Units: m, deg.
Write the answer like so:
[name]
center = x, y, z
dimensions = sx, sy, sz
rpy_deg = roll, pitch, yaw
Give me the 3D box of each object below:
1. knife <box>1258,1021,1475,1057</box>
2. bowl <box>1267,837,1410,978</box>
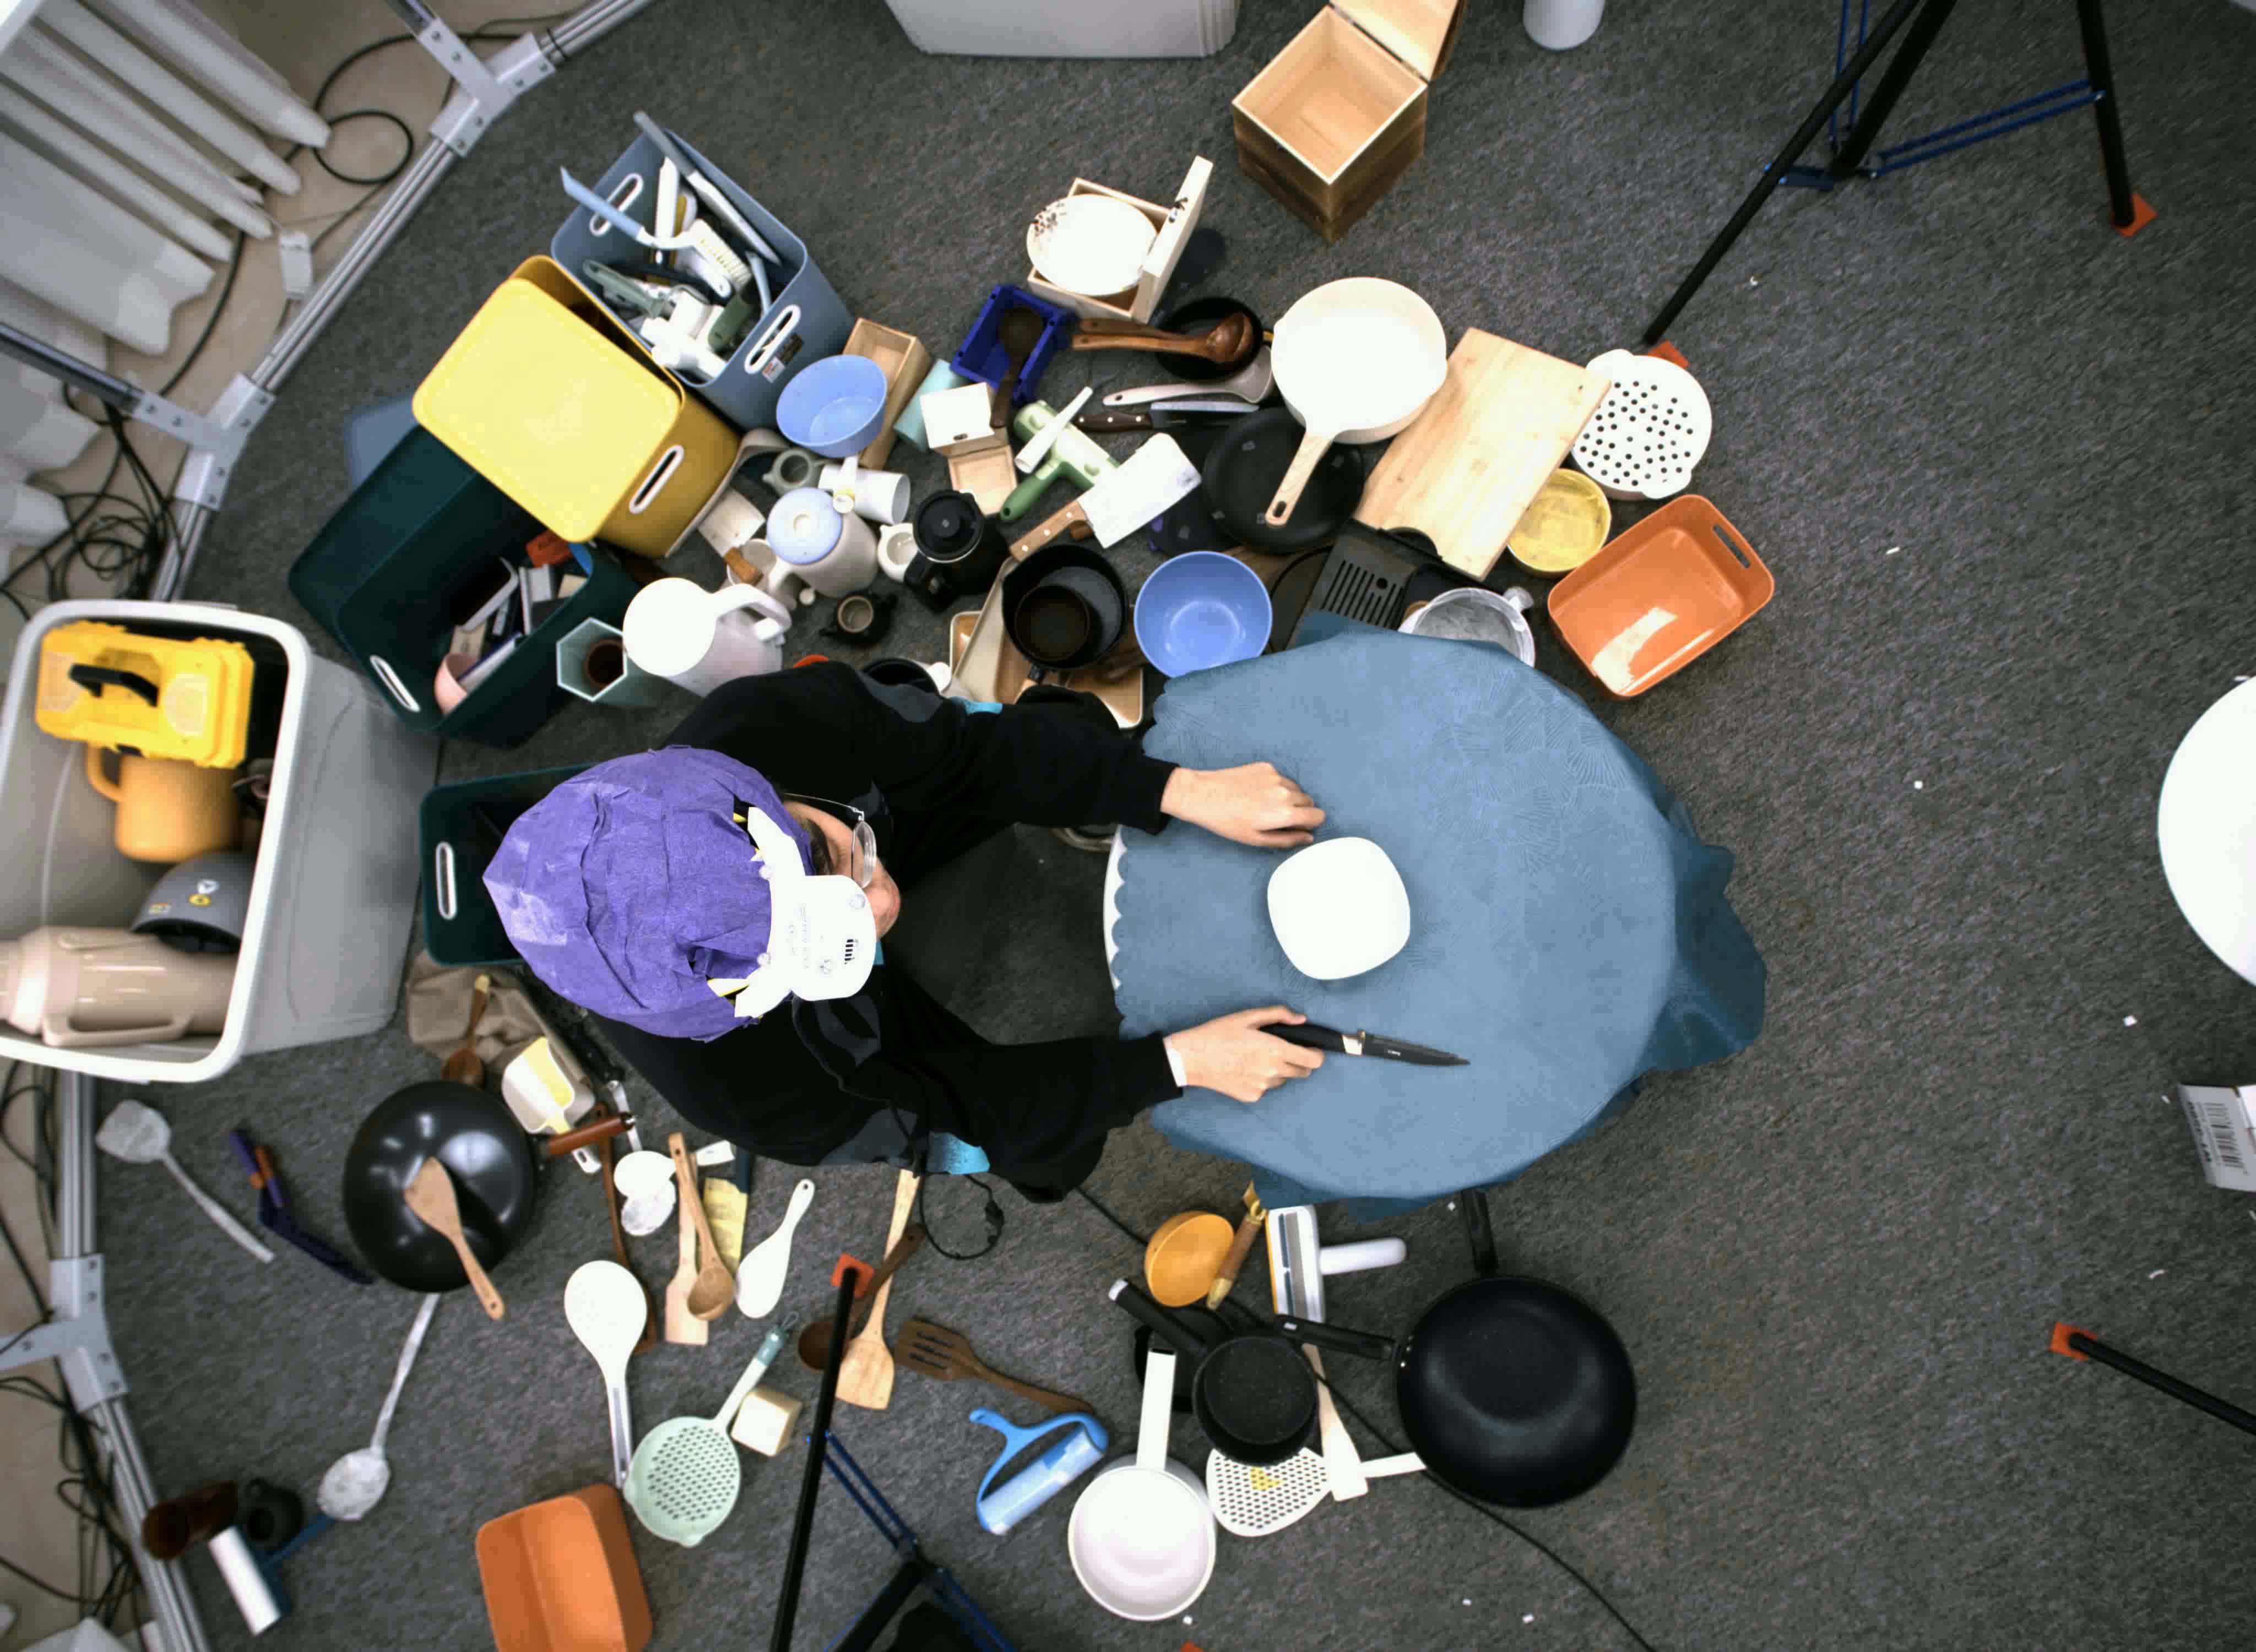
[knife]
center = 0.249, 0.225, 1.450
dimensions = 0.226, 0.017, 0.026
rpy_deg = 6, 78, 10
[bowl]
center = 0.219, 0.085, 1.441
dimensions = 0.152, 0.058, 0.151
rpy_deg = -1, 88, 10
